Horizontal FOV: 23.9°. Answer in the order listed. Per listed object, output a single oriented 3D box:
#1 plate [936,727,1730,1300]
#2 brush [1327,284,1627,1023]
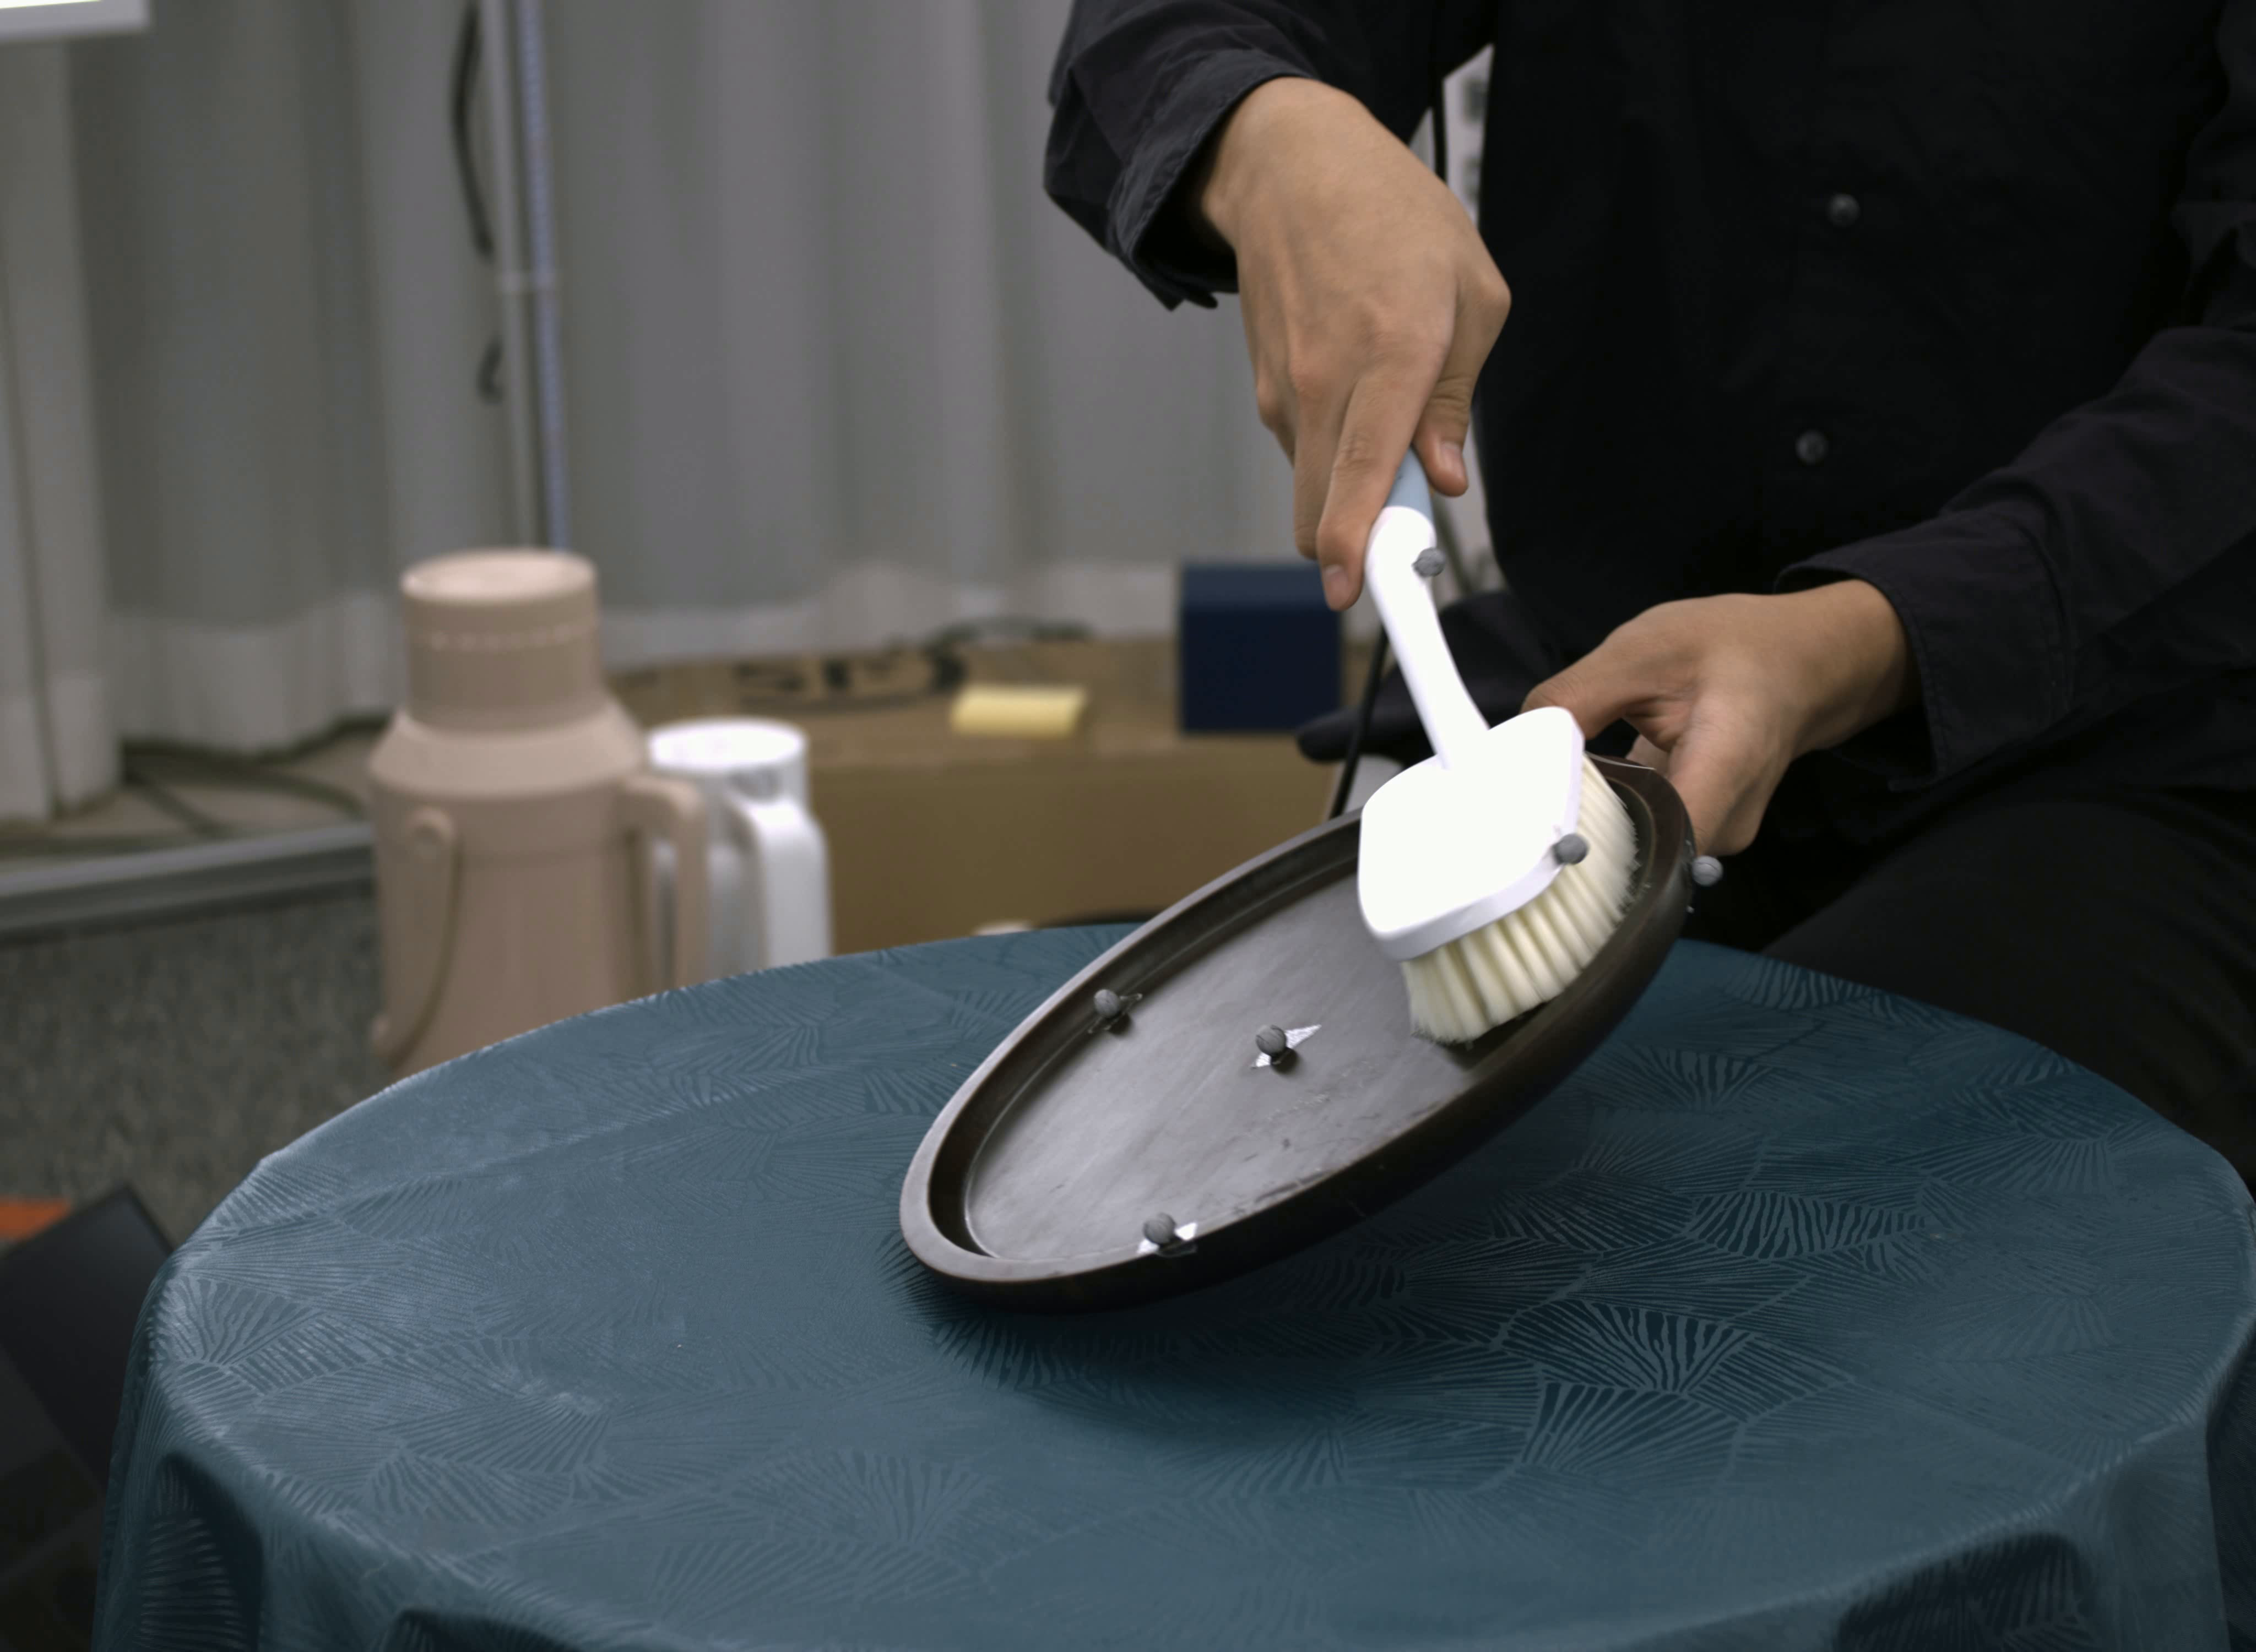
[{"bbox_3d":[0.059,0.052,1.499,0.255,0.029,0.256,-31,17,8],"label":"plate"},{"bbox_3d":[0.101,-0.046,1.553,0.082,0.084,0.328,4,36,-4],"label":"brush"}]
